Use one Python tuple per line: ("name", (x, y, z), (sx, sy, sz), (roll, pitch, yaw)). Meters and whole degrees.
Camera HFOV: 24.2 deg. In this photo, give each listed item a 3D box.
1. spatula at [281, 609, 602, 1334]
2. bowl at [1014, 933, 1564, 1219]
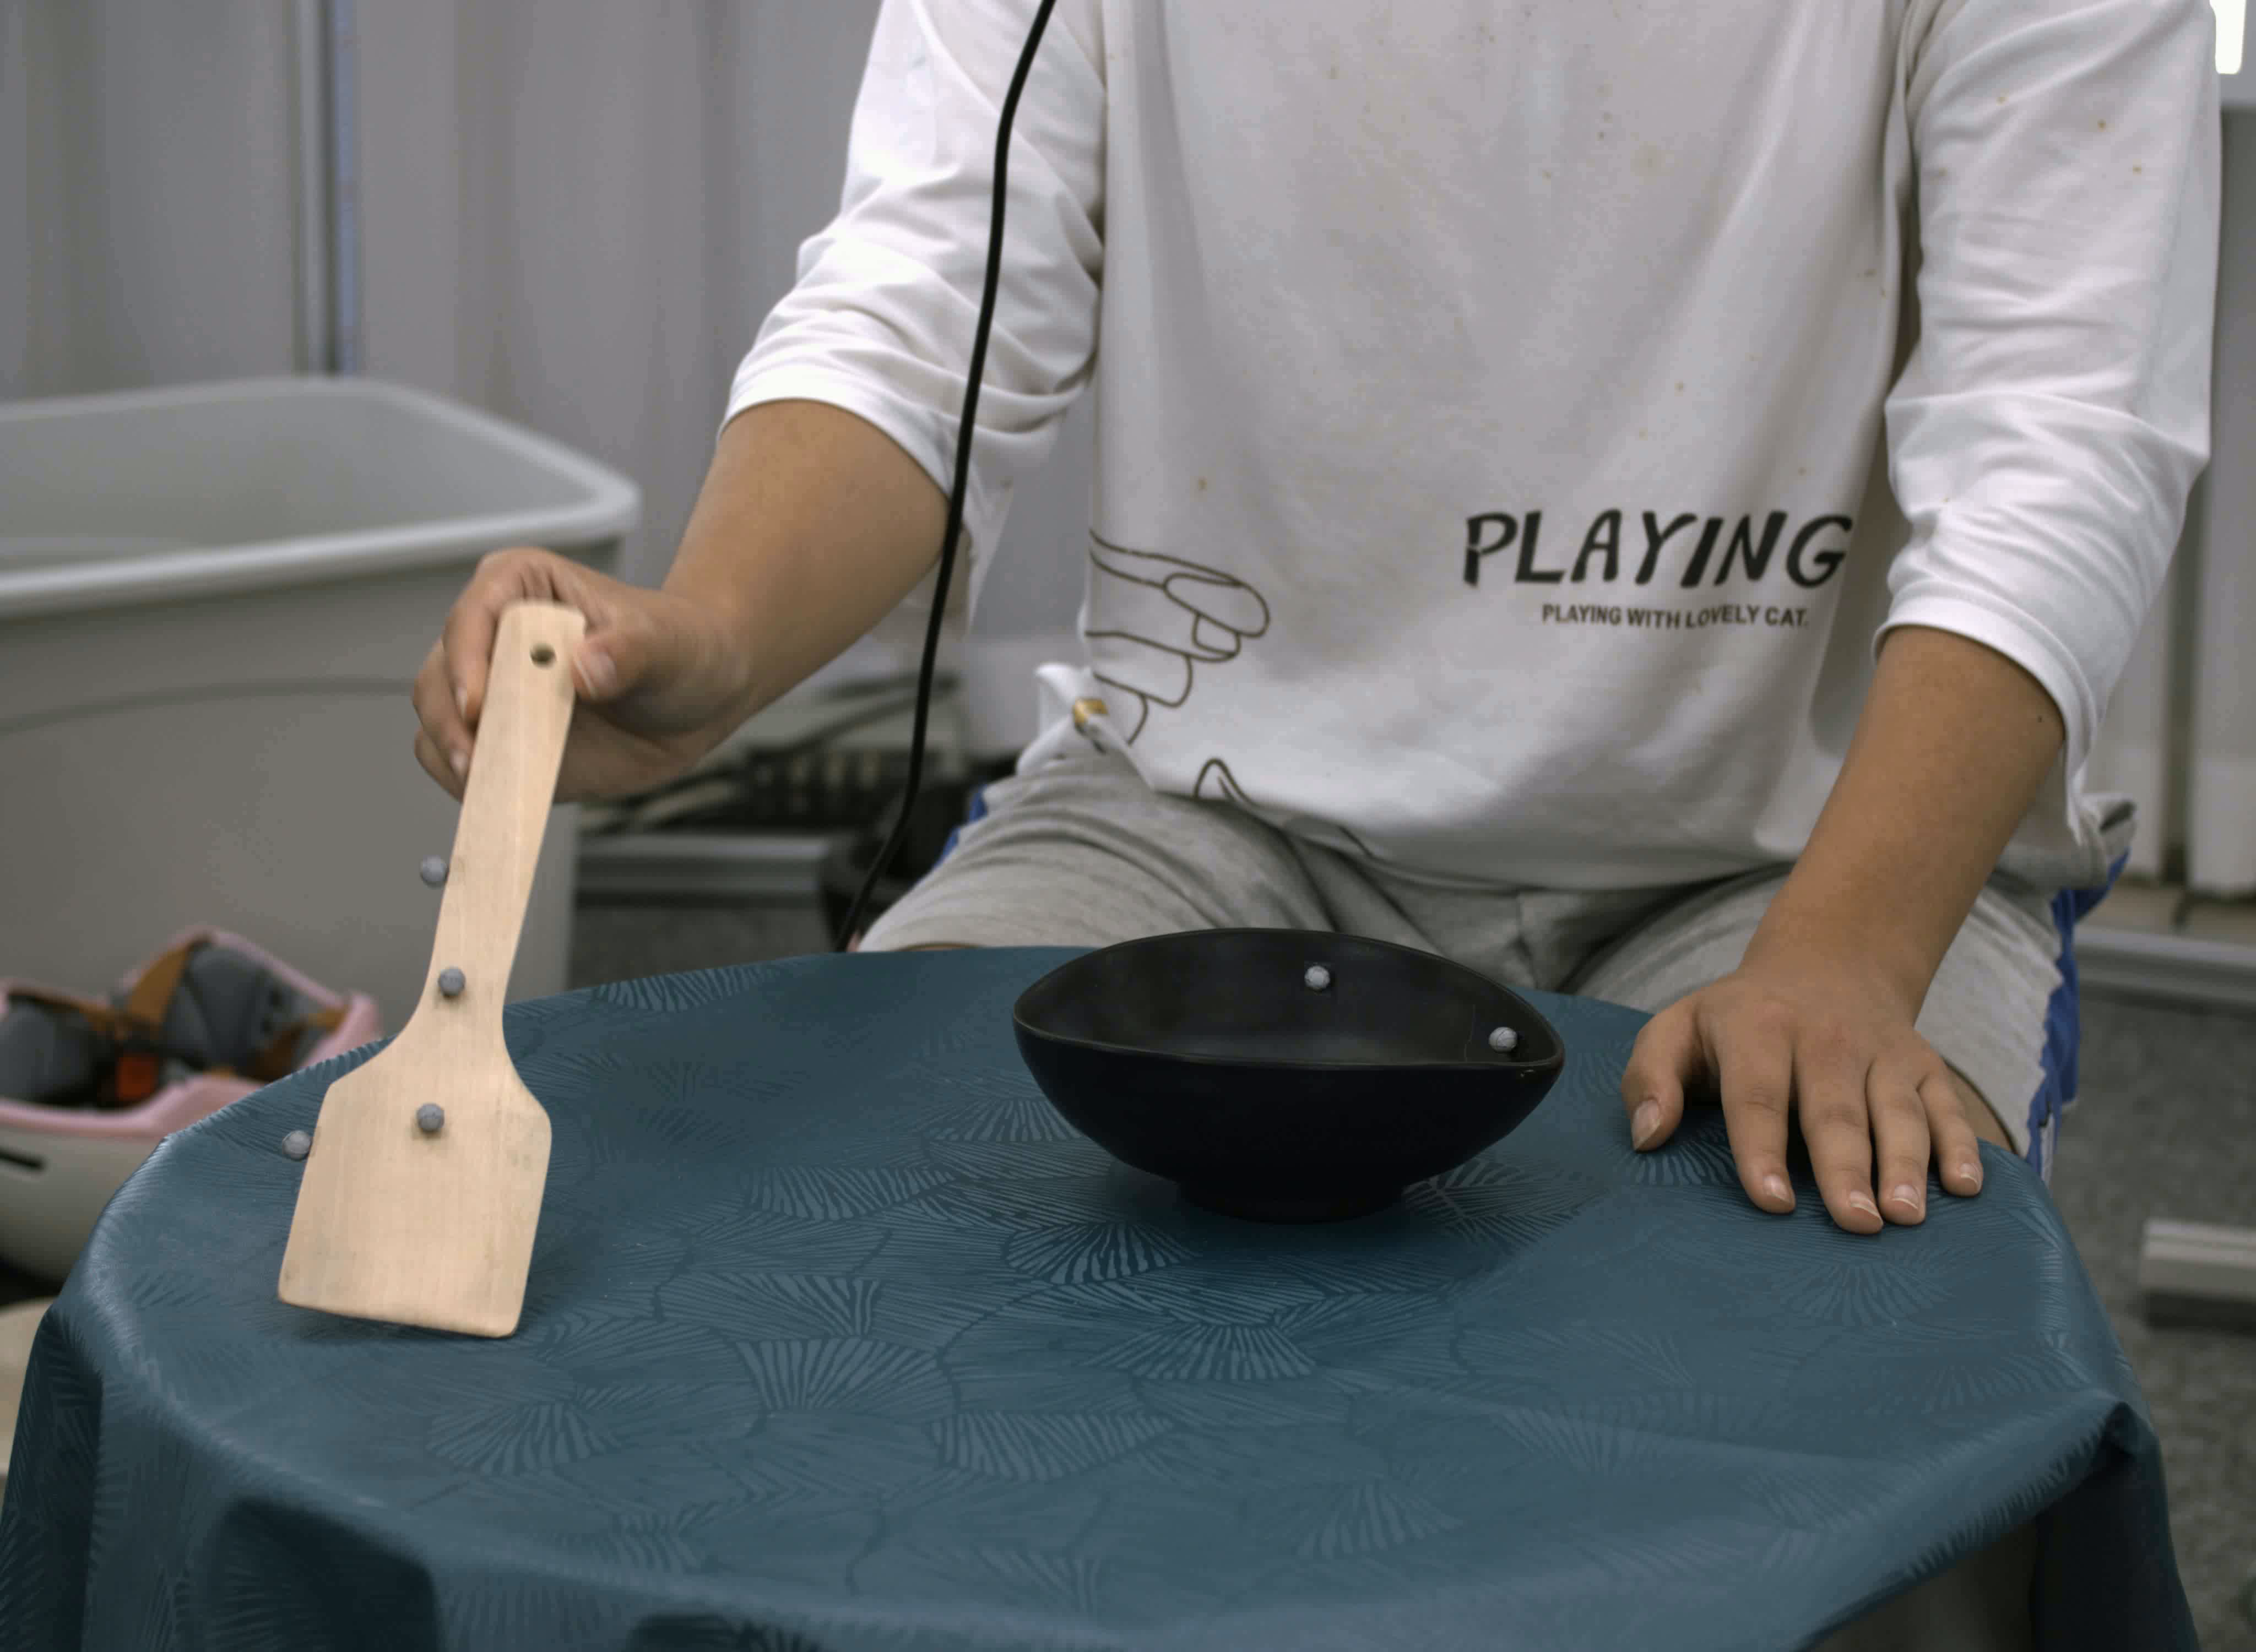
("spatula", (-0.196, 0.036, 1.596), (0.072, 0.011, 0.291), (10, 47, -3))
("bowl", (0.049, 0.081, 1.627), (0.170, 0.067, 0.136), (3, 15, 0))
